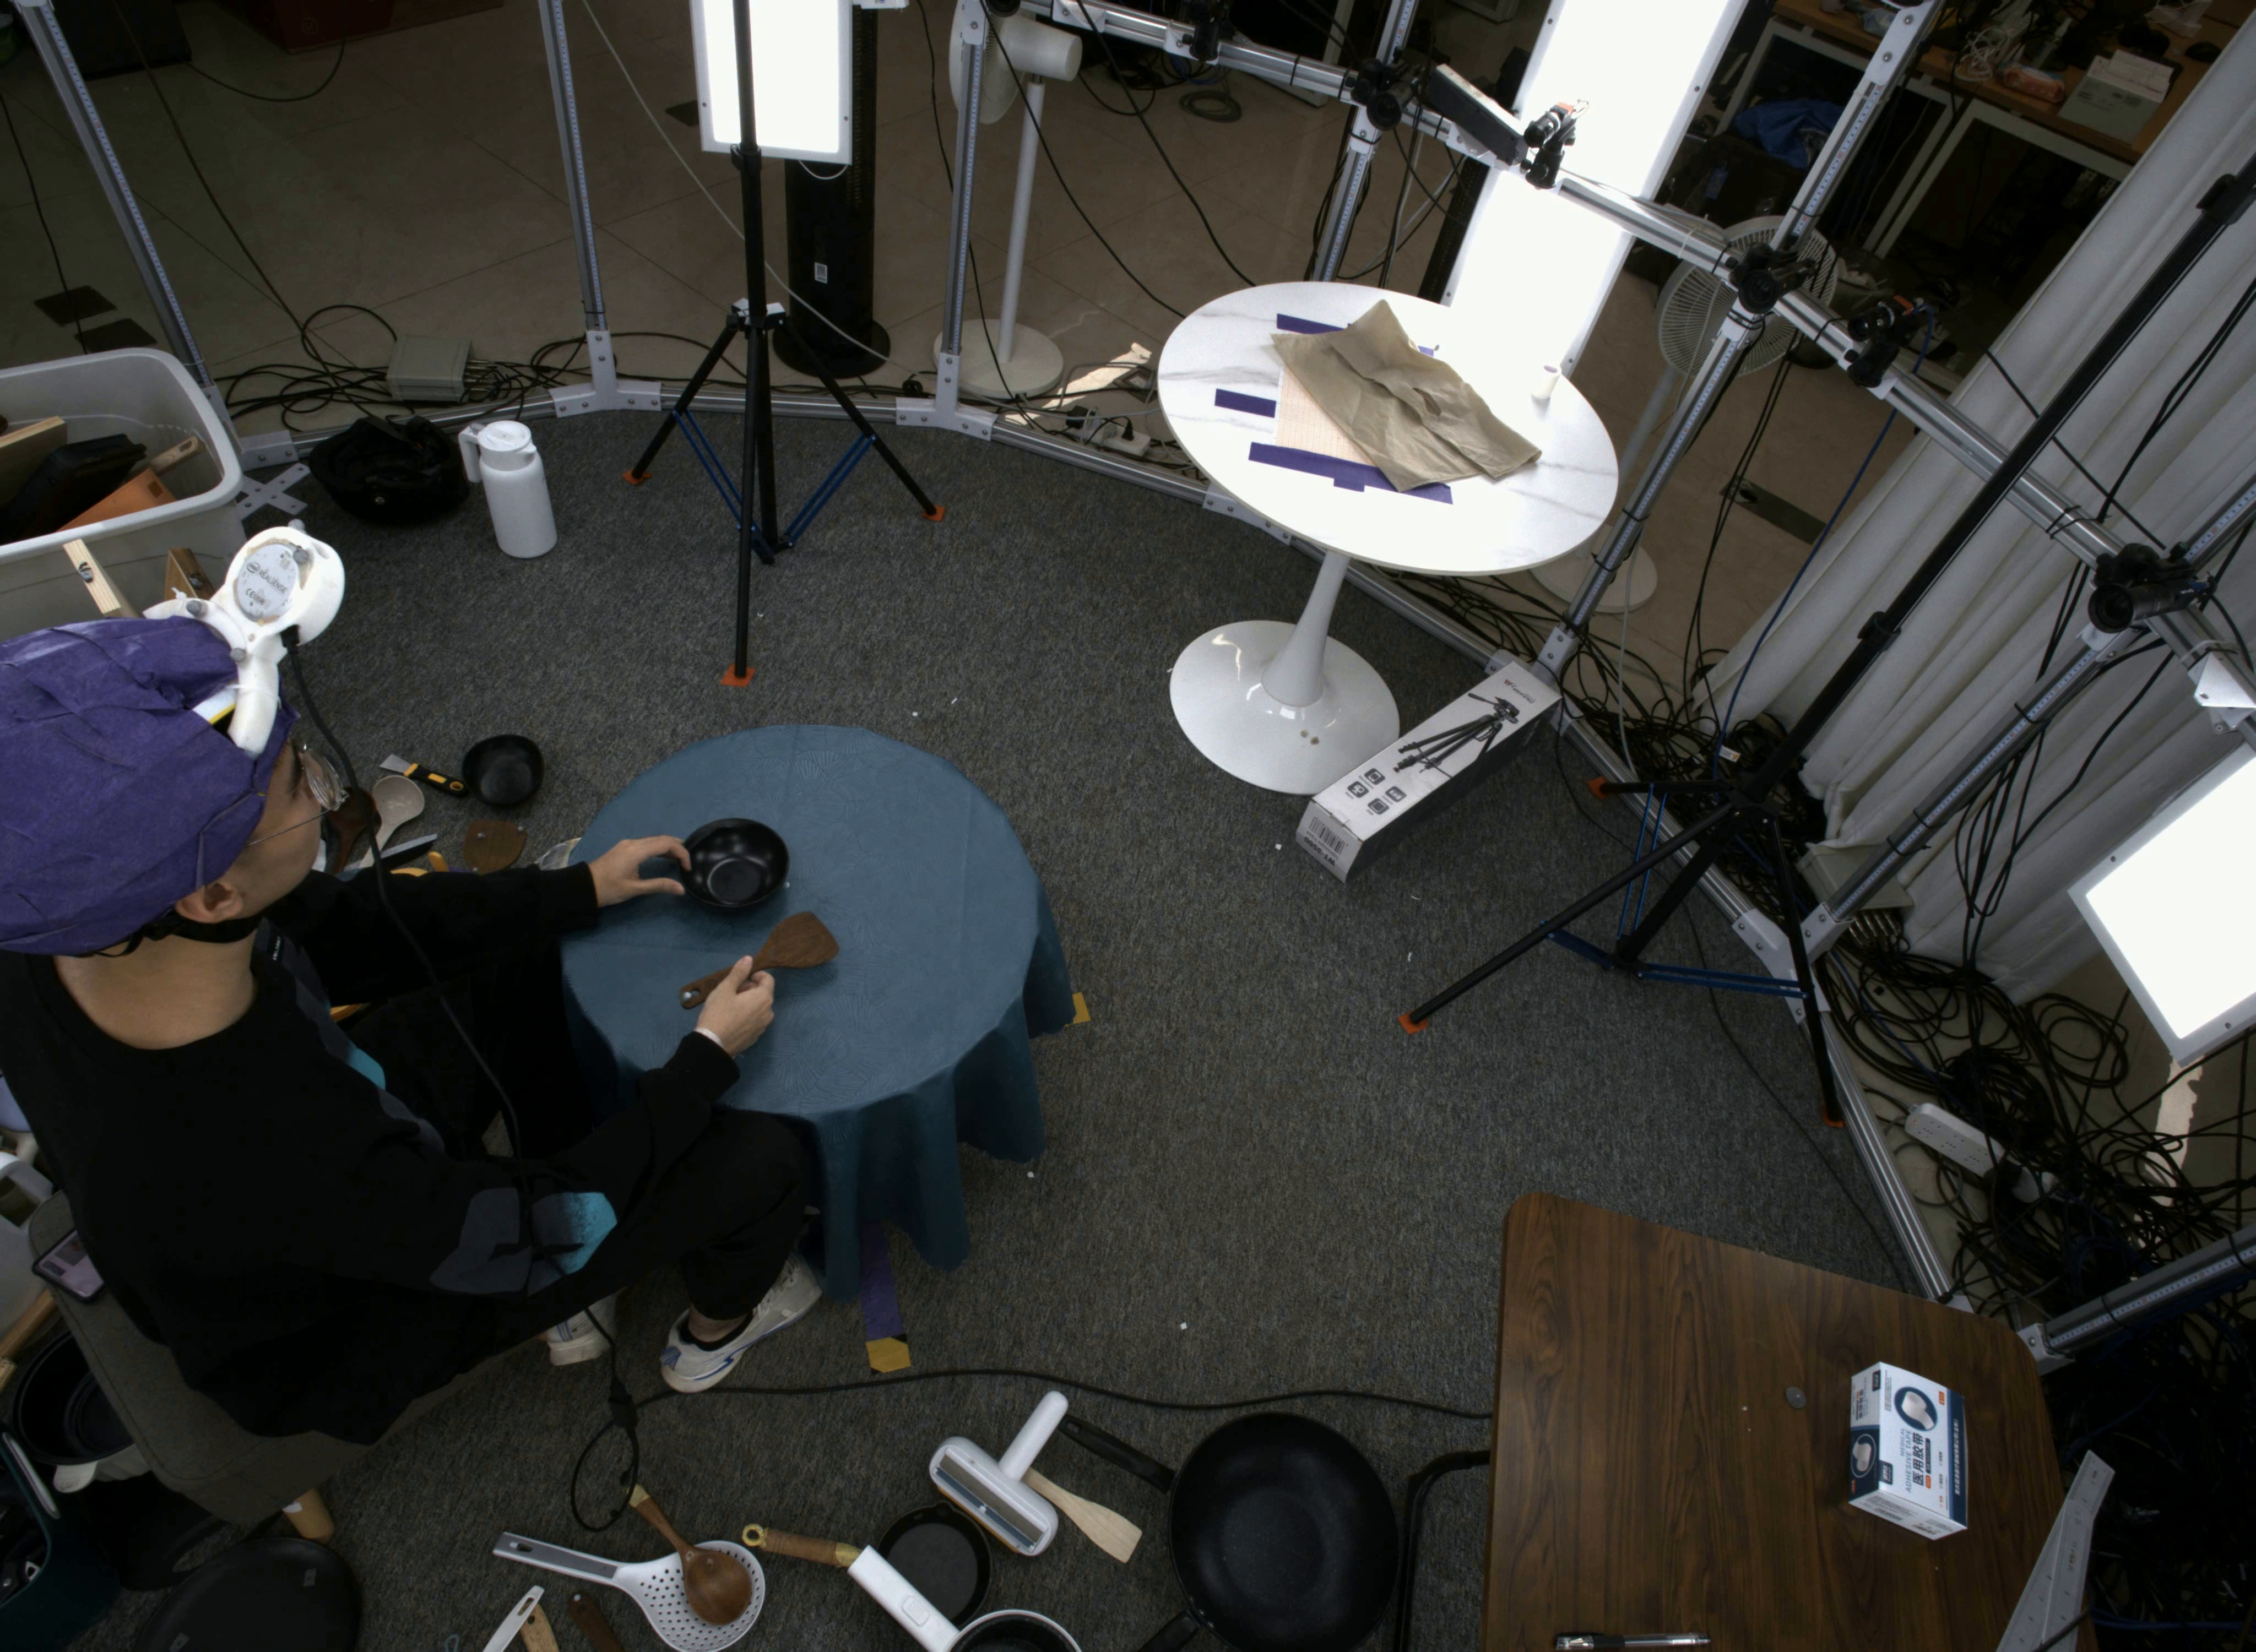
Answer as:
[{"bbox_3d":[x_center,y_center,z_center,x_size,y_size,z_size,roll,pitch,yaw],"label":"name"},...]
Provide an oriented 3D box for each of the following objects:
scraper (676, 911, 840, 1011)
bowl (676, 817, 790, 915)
[{"bbox_3d":[-0.441,0.164,1.535,0.213,0.011,0.075,-27,73,-44],"label":"scraper"},{"bbox_3d":[-0.499,0.057,1.637,0.140,0.050,0.138,8,55,-10],"label":"bowl"}]
